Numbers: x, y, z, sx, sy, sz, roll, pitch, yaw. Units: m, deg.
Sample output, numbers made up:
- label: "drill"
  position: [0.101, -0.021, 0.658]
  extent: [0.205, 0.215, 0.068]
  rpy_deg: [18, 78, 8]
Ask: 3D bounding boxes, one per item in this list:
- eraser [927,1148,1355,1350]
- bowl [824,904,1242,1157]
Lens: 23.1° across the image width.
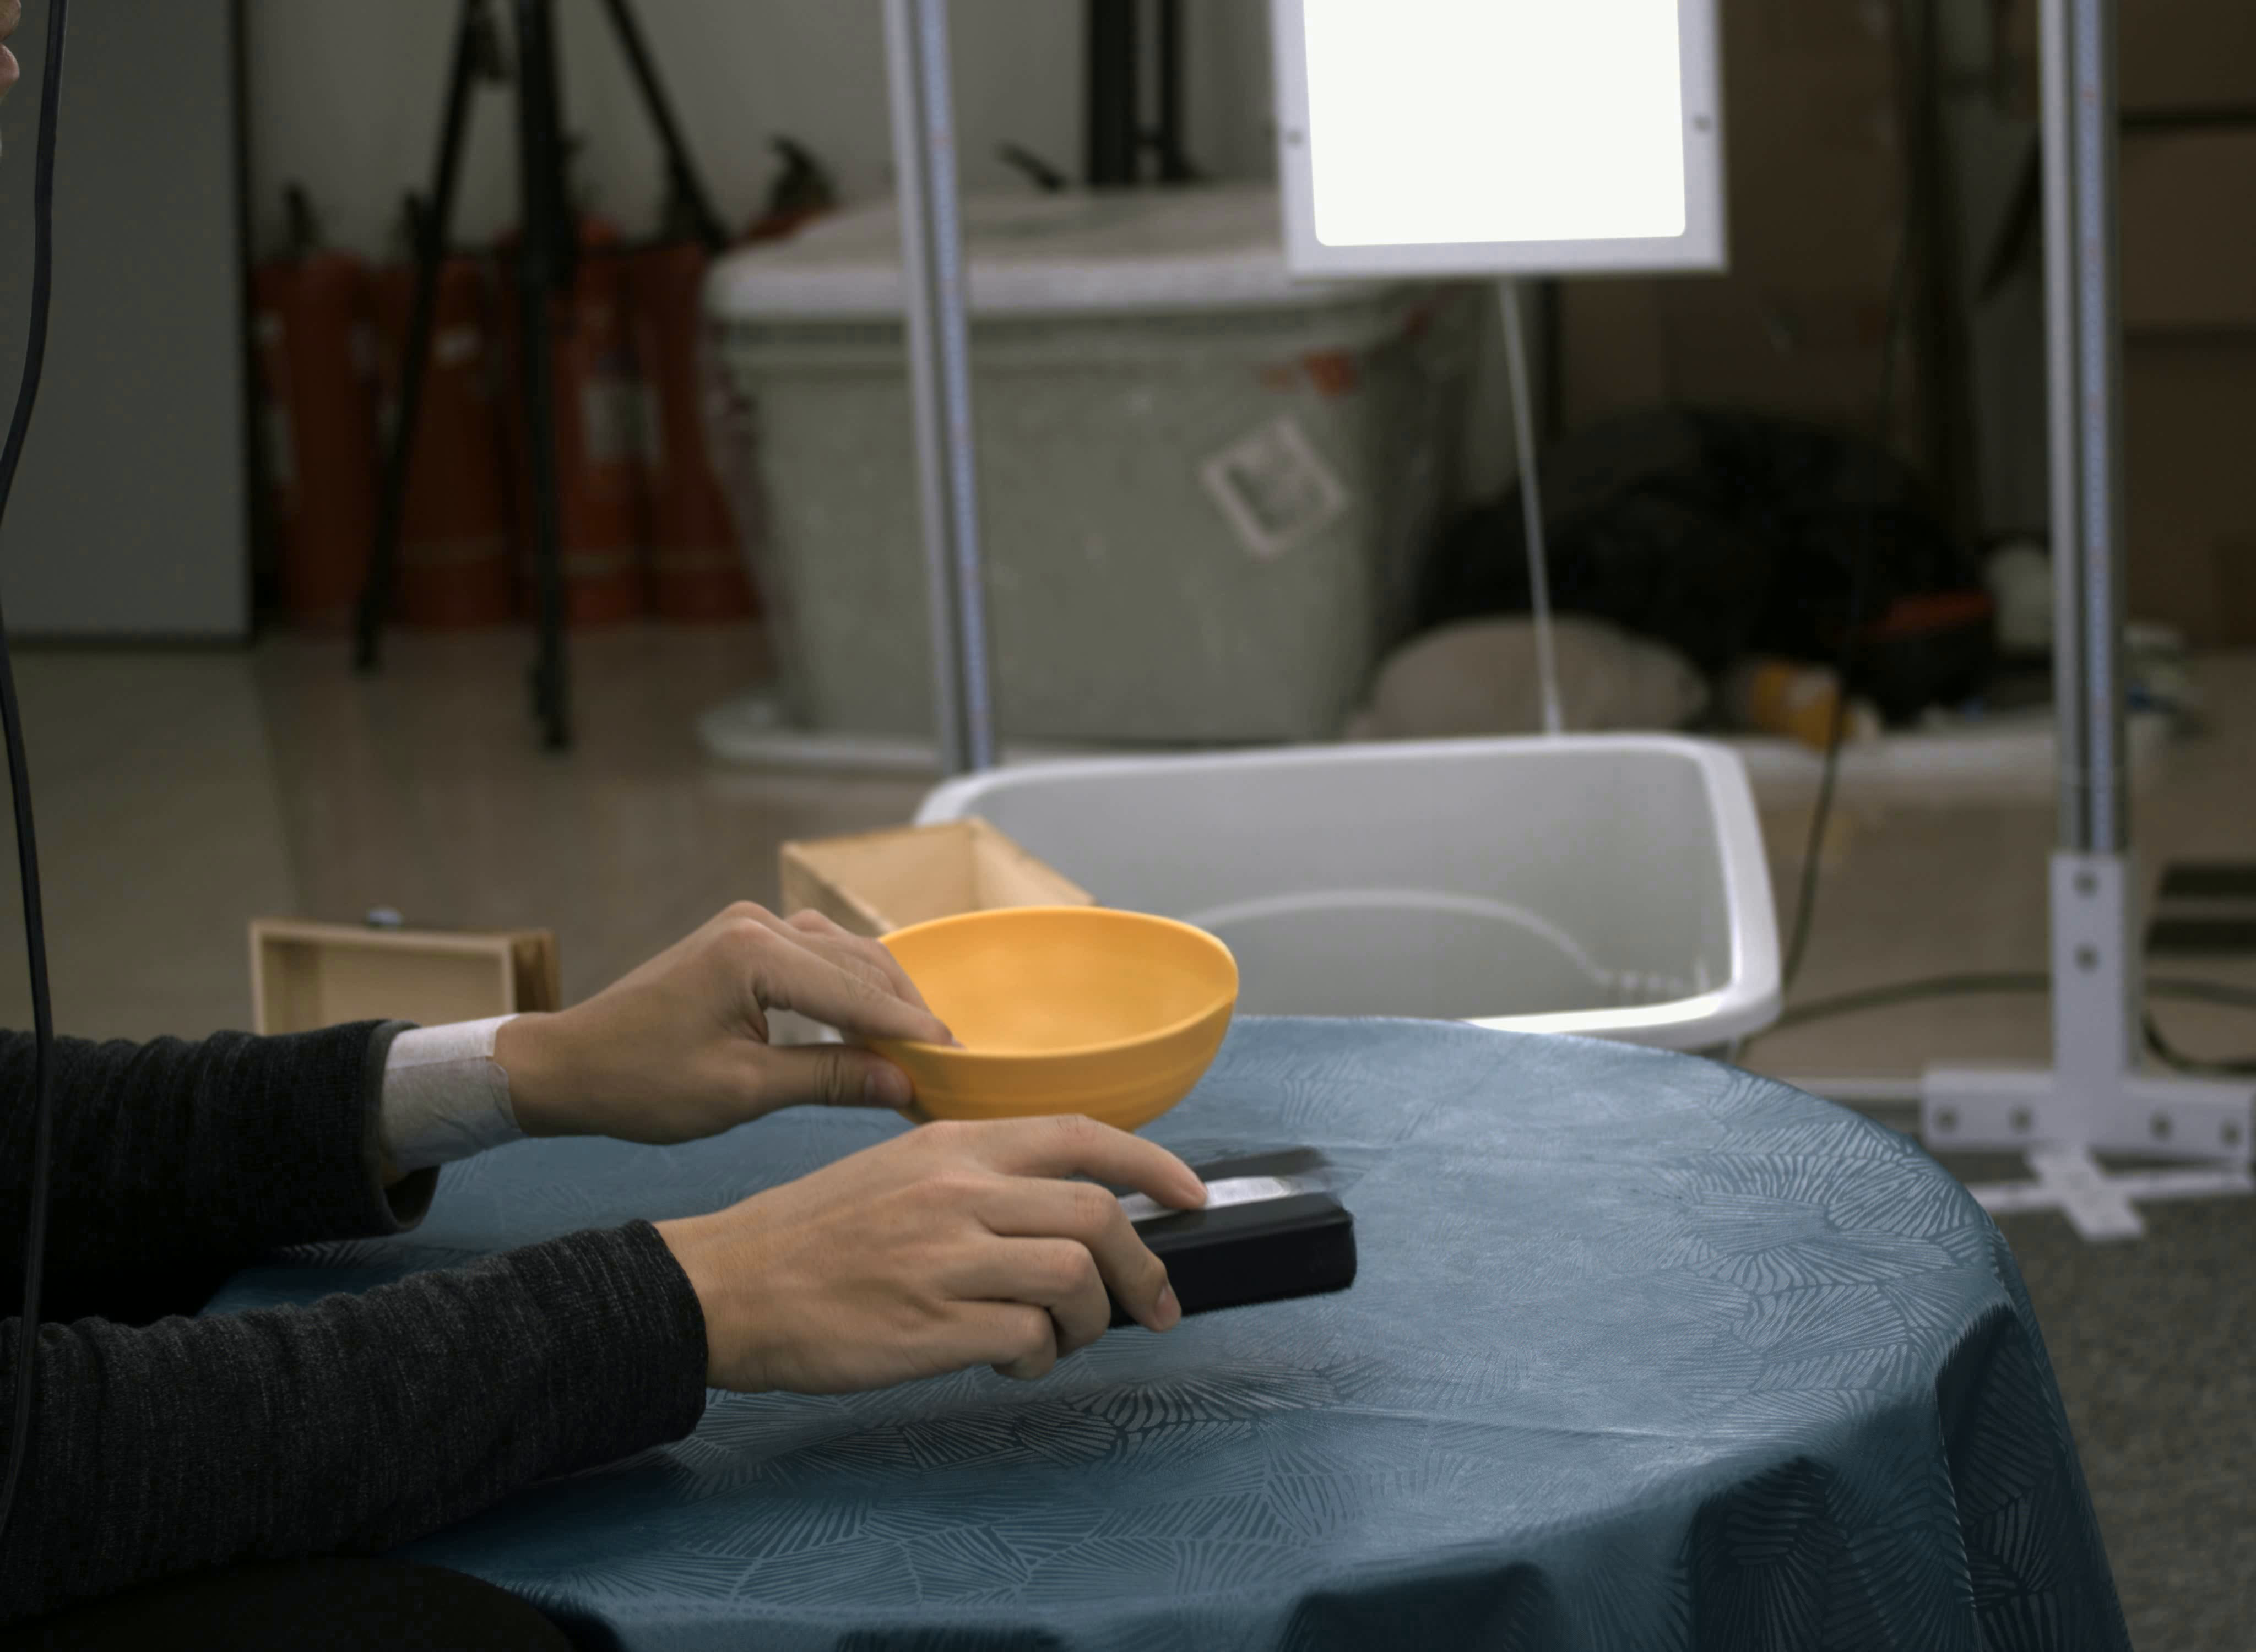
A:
- label: "eraser"
  position: [0.004, 0.129, 1.687]
  extent: [0.124, 0.030, 0.054]
  rpy_deg: [-9, 21, -11]
- label: "bowl"
  position: [-0.032, 0.076, 1.905]
  extent: [0.145, 0.060, 0.145]
  rpy_deg: [-2, 18, -1]
